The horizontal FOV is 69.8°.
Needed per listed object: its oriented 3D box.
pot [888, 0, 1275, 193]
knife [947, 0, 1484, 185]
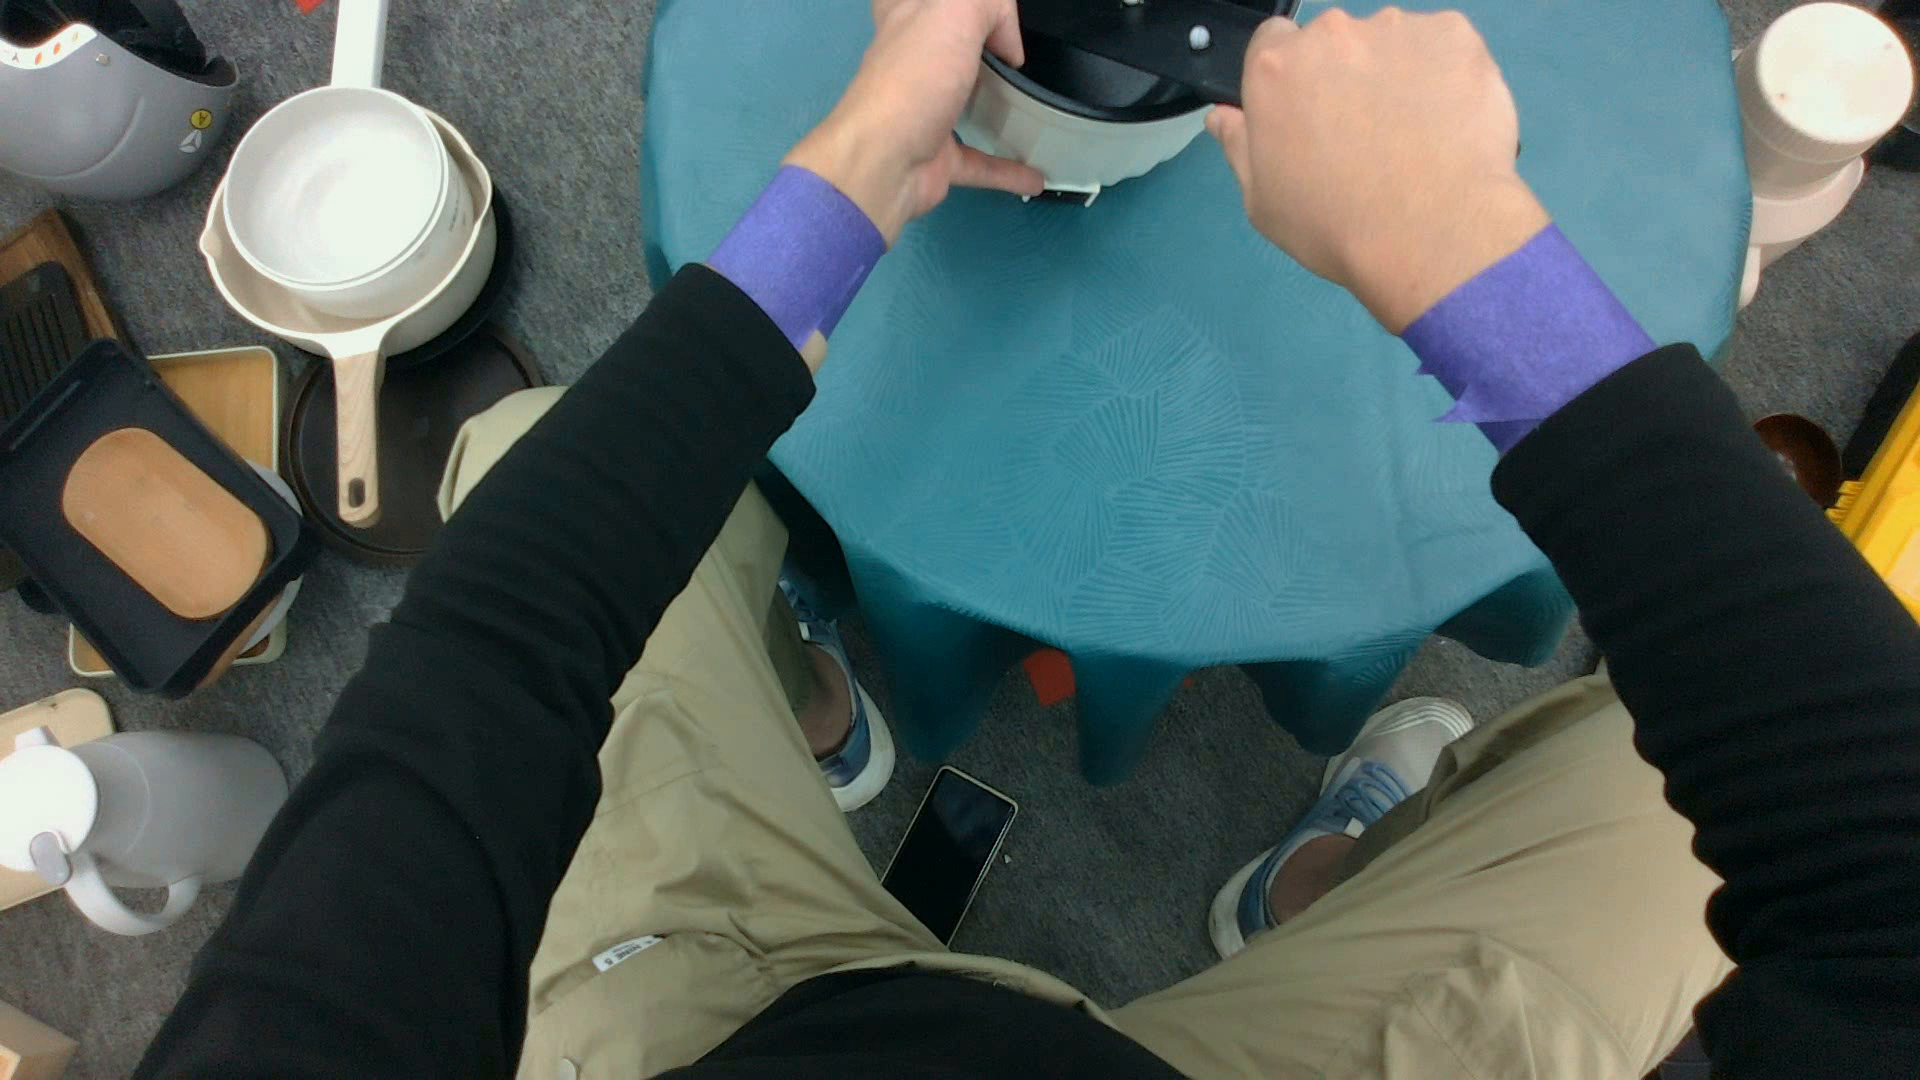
[{"bbox_3d":[0.052,-0.284,0.691,0.240,0.142,0.190,2,89,-10],"label":"pot"},{"bbox_3d":[0.098,-0.211,0.589,0.081,0.021,0.303,-29,44,-16],"label":"knife"}]
